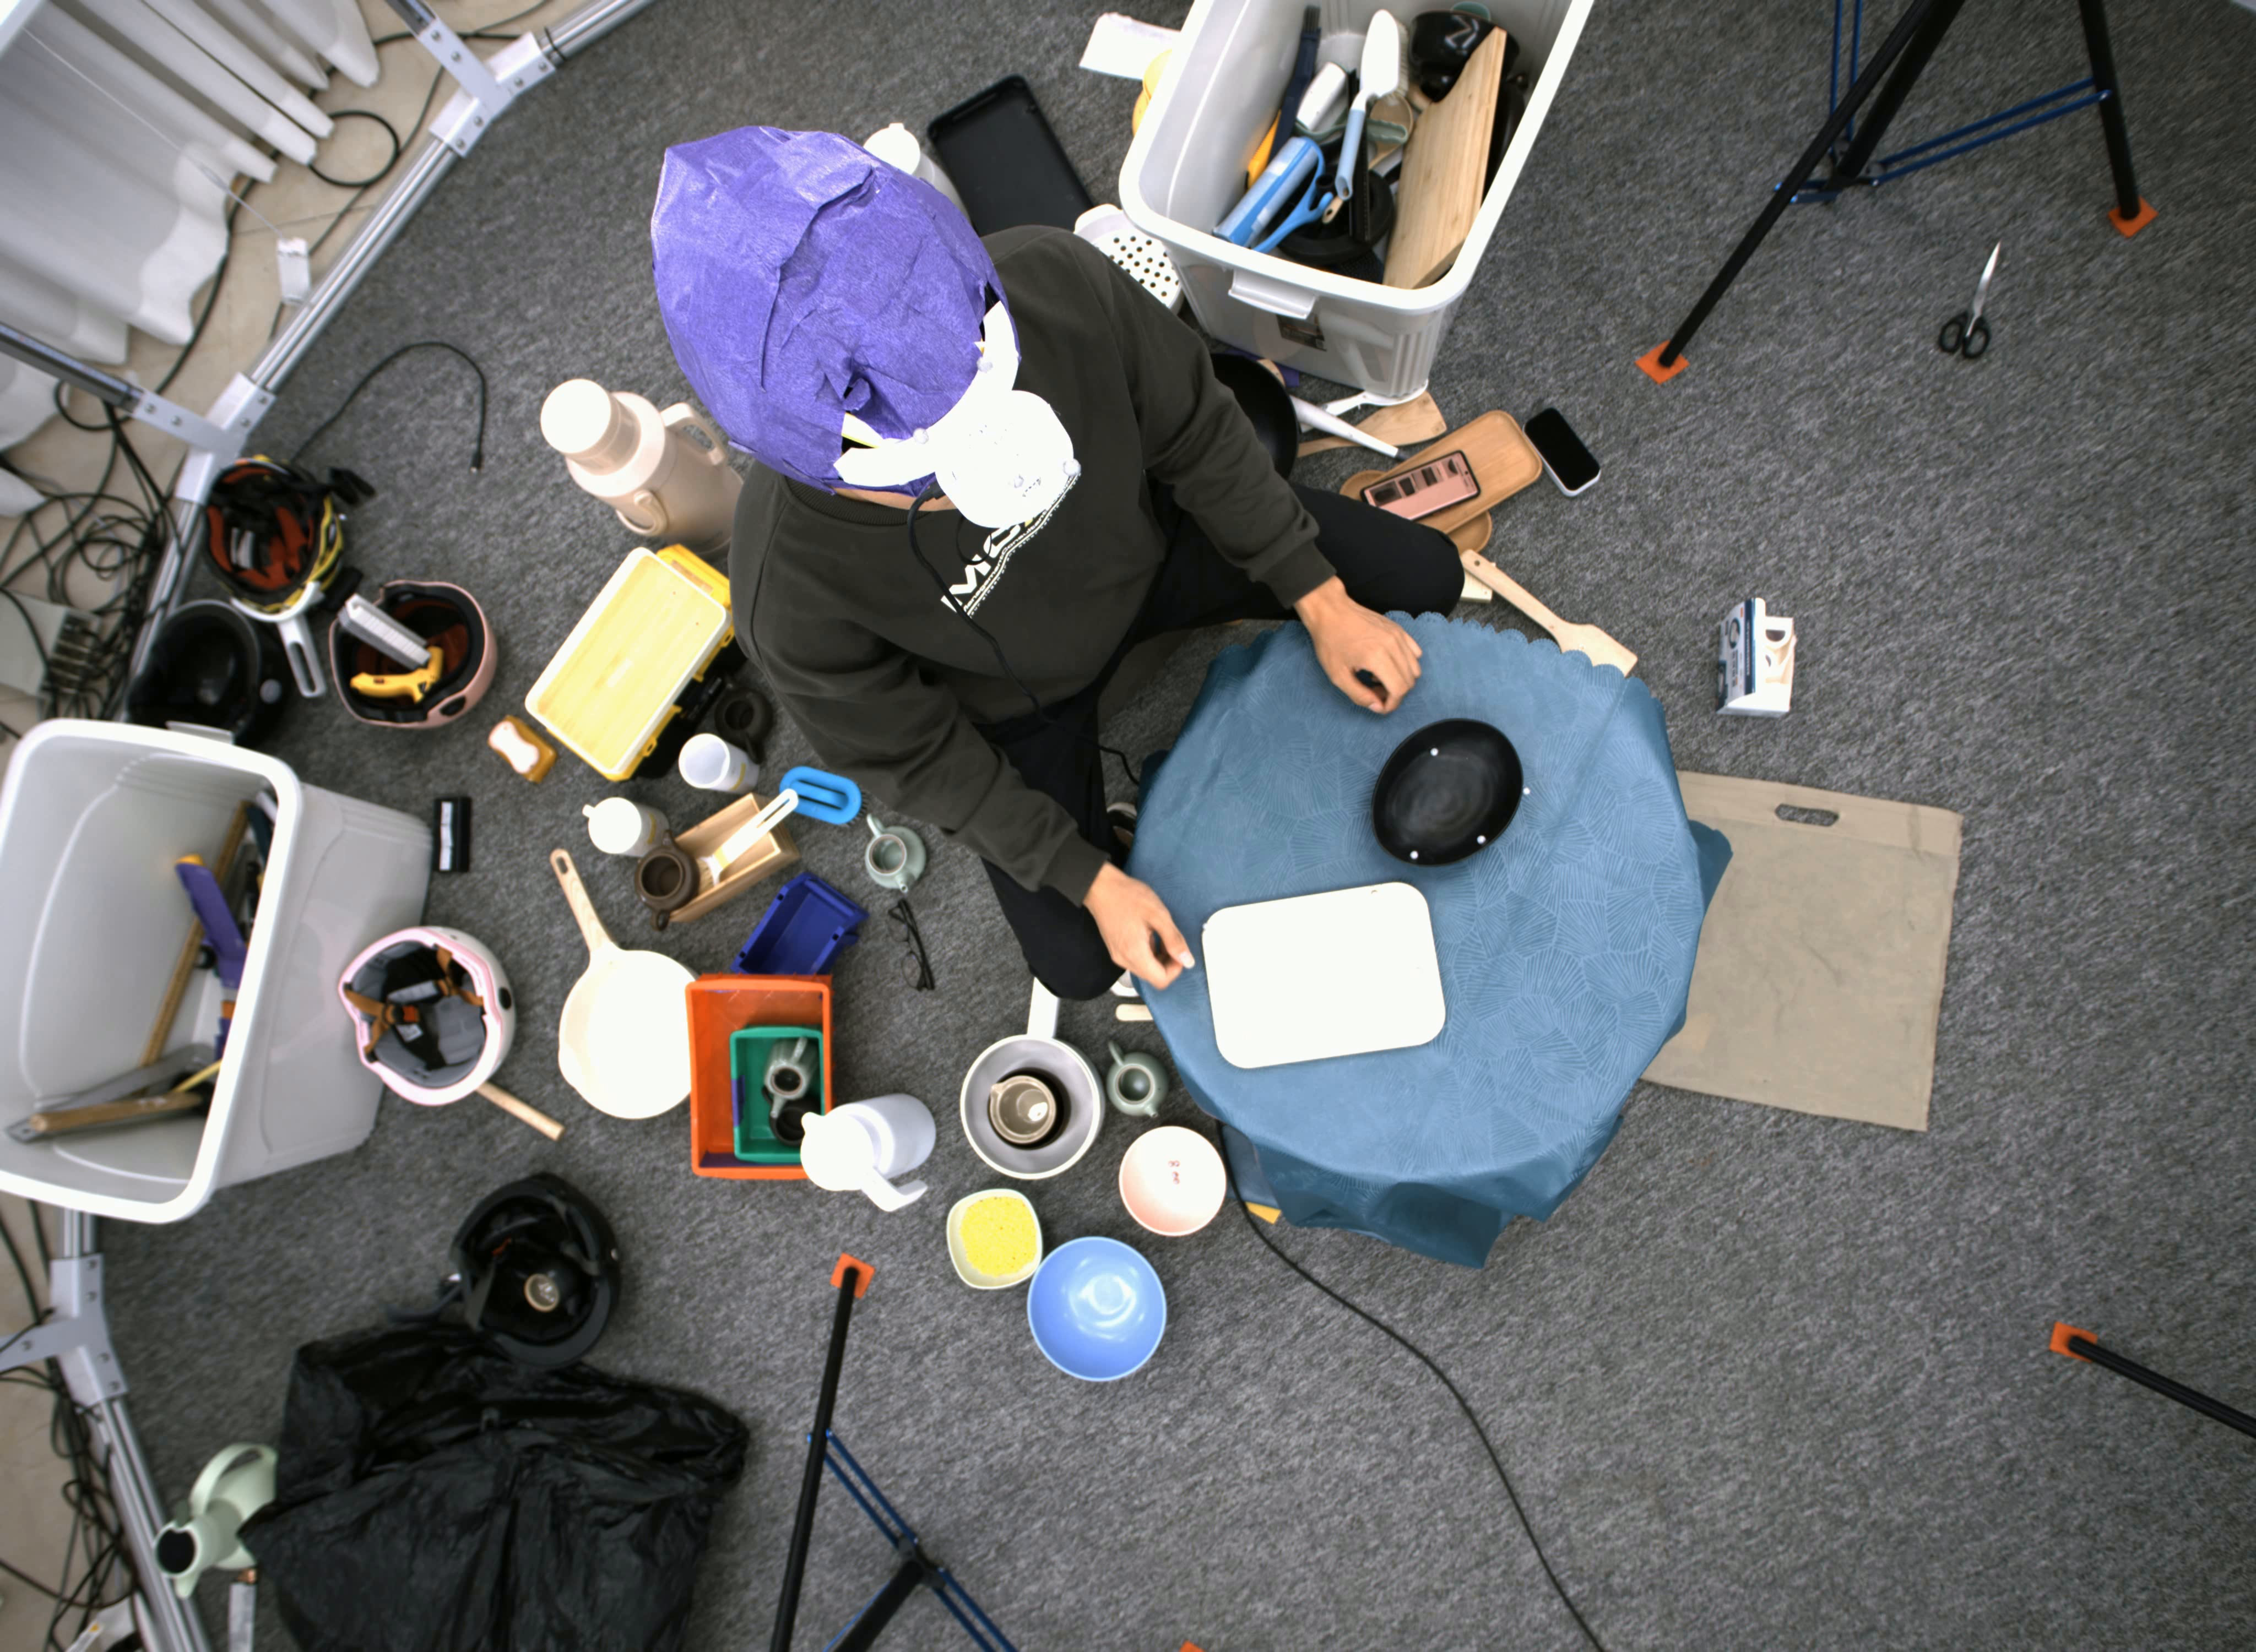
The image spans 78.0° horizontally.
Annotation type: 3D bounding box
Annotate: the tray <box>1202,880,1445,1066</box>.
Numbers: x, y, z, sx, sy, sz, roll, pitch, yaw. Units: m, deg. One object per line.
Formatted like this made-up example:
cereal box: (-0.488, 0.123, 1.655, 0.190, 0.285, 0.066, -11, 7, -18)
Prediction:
tray: (0.204, 0.154, 1.458, 0.241, 0.017, 0.170, -10, 85, 10)

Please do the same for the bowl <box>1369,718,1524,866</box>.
bowl: (0.328, -0.033, 1.424, 0.136, 0.066, 0.171, 45, 97, 12)
